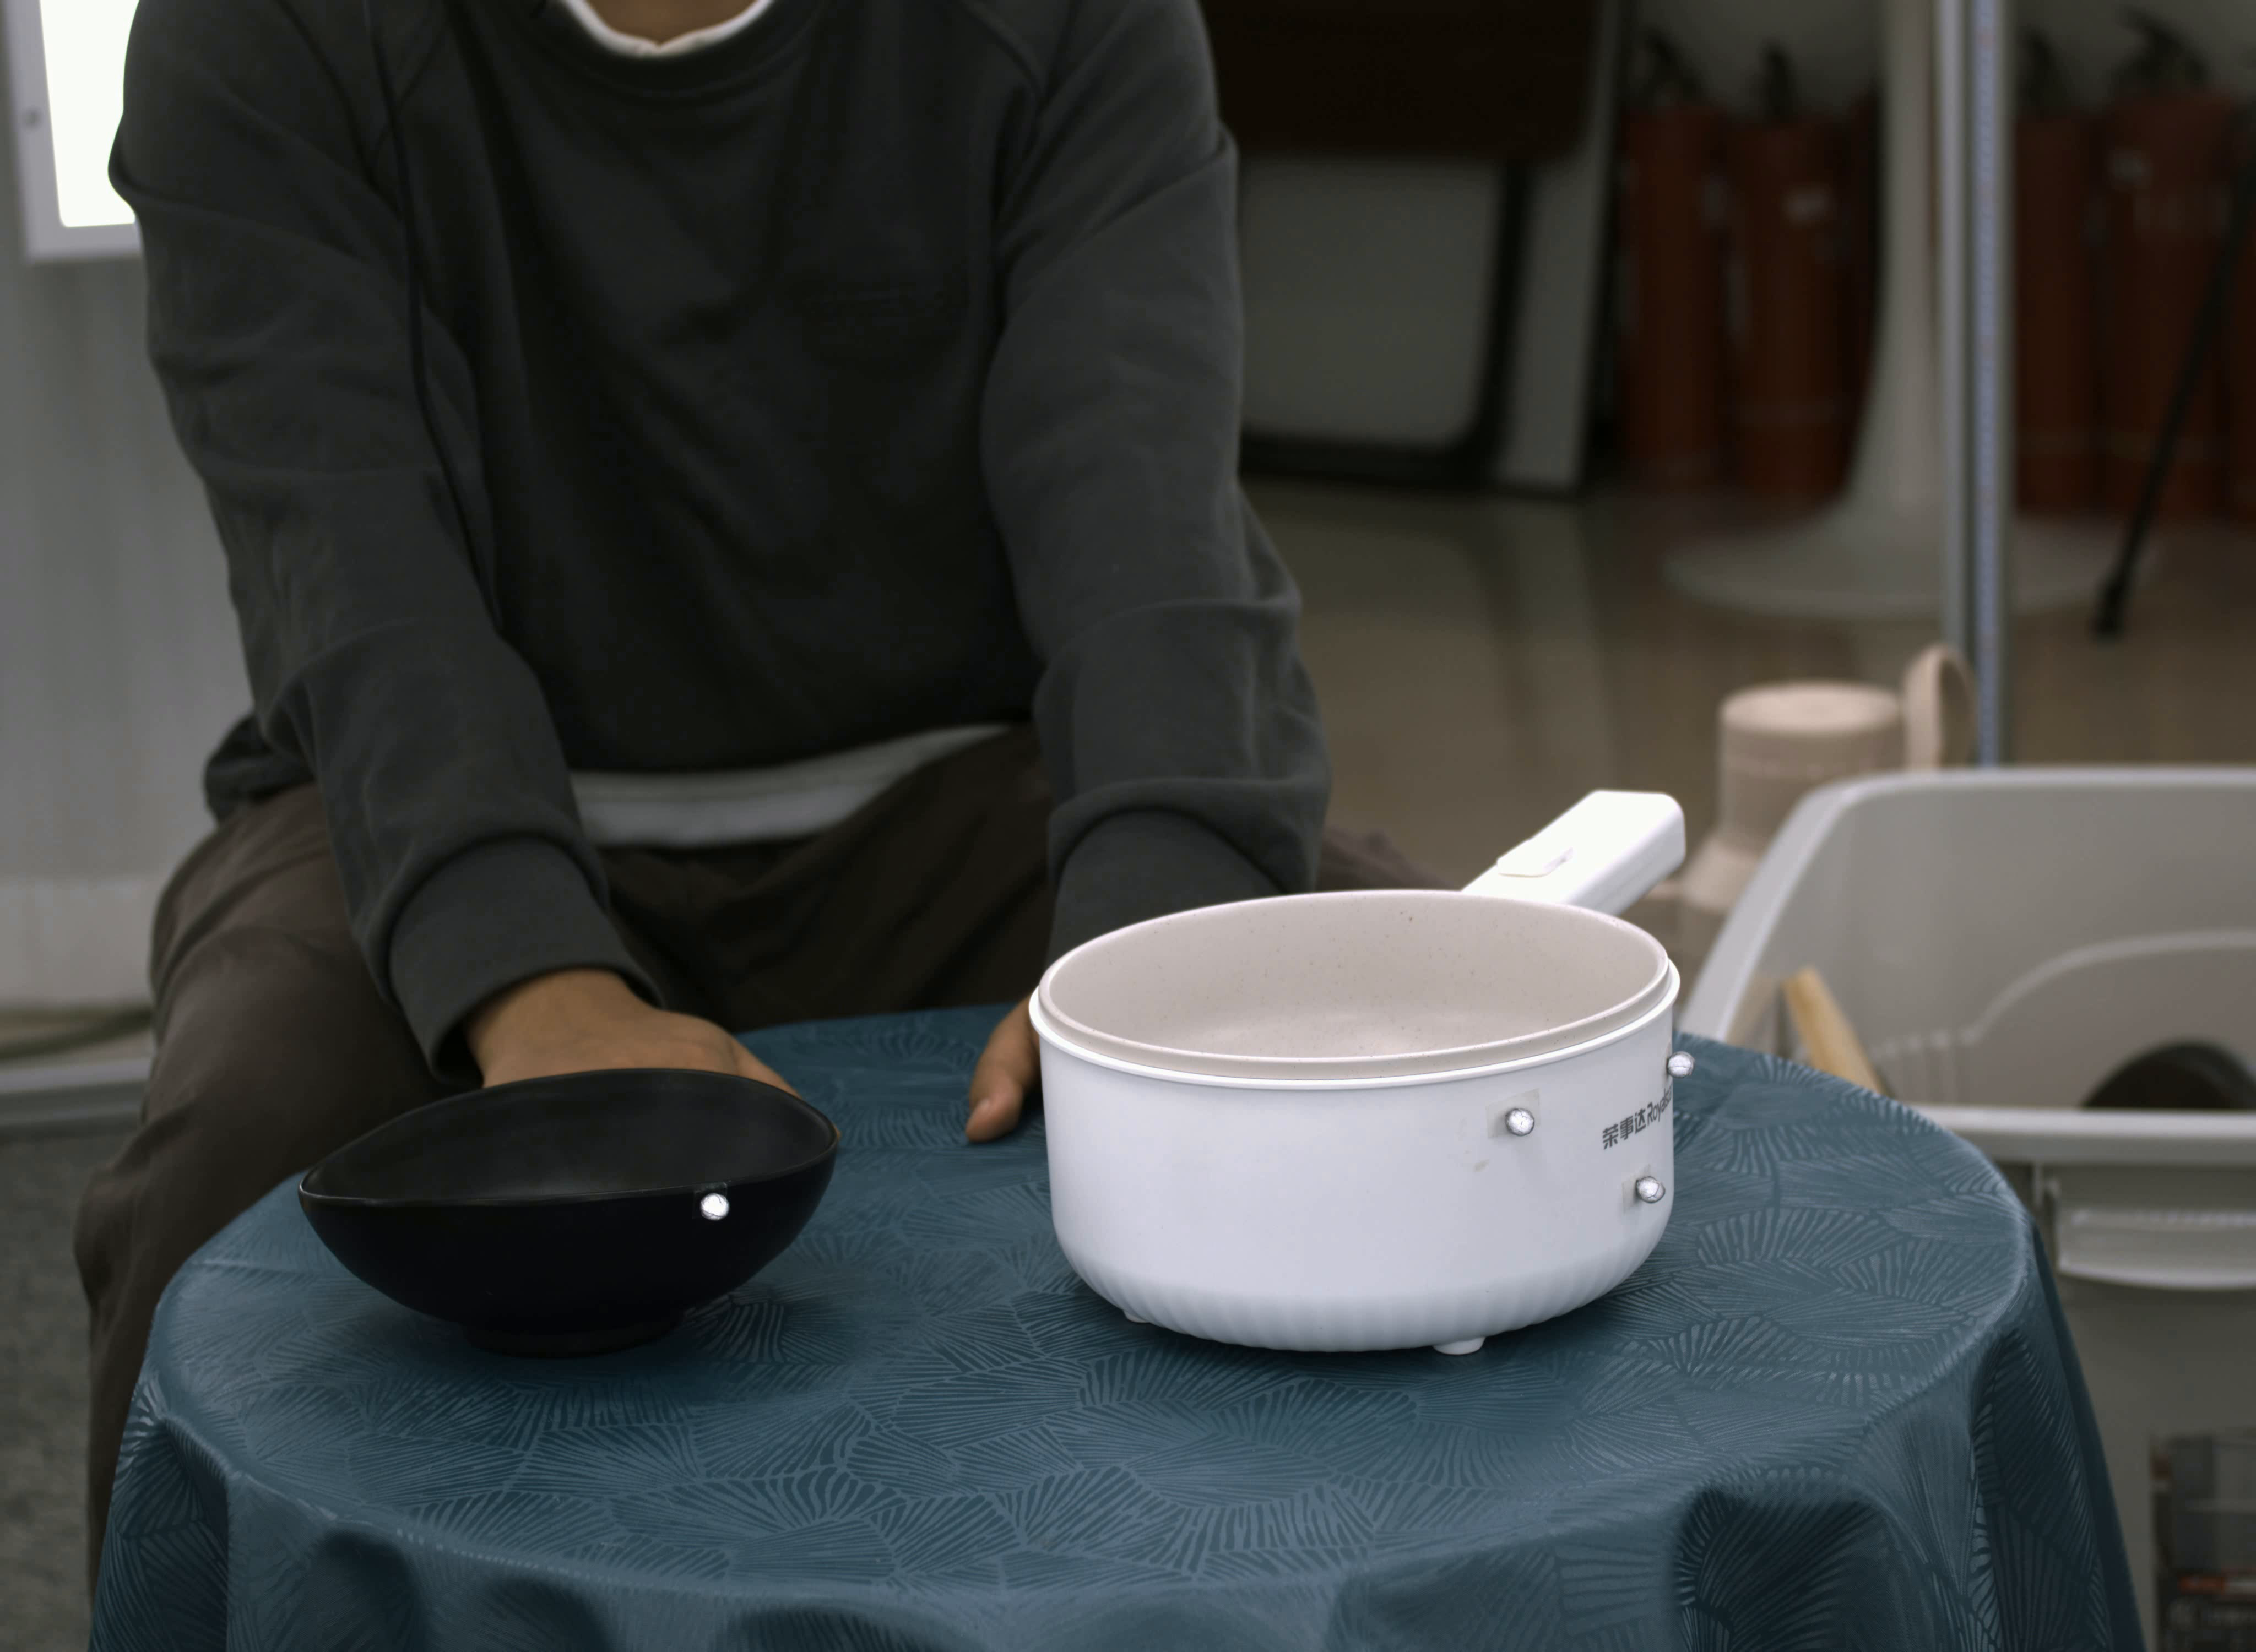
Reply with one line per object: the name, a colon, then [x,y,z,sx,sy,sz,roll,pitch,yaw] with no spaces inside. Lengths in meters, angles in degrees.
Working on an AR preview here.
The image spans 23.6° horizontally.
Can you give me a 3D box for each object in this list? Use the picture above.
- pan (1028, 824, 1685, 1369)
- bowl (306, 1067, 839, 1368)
pan: [0.104,0.083,1.726,0.201,0.103,0.350,-1,11,26]
bowl: [-0.170,0.126,1.668,0.169,0.067,0.137,-4,13,8]
